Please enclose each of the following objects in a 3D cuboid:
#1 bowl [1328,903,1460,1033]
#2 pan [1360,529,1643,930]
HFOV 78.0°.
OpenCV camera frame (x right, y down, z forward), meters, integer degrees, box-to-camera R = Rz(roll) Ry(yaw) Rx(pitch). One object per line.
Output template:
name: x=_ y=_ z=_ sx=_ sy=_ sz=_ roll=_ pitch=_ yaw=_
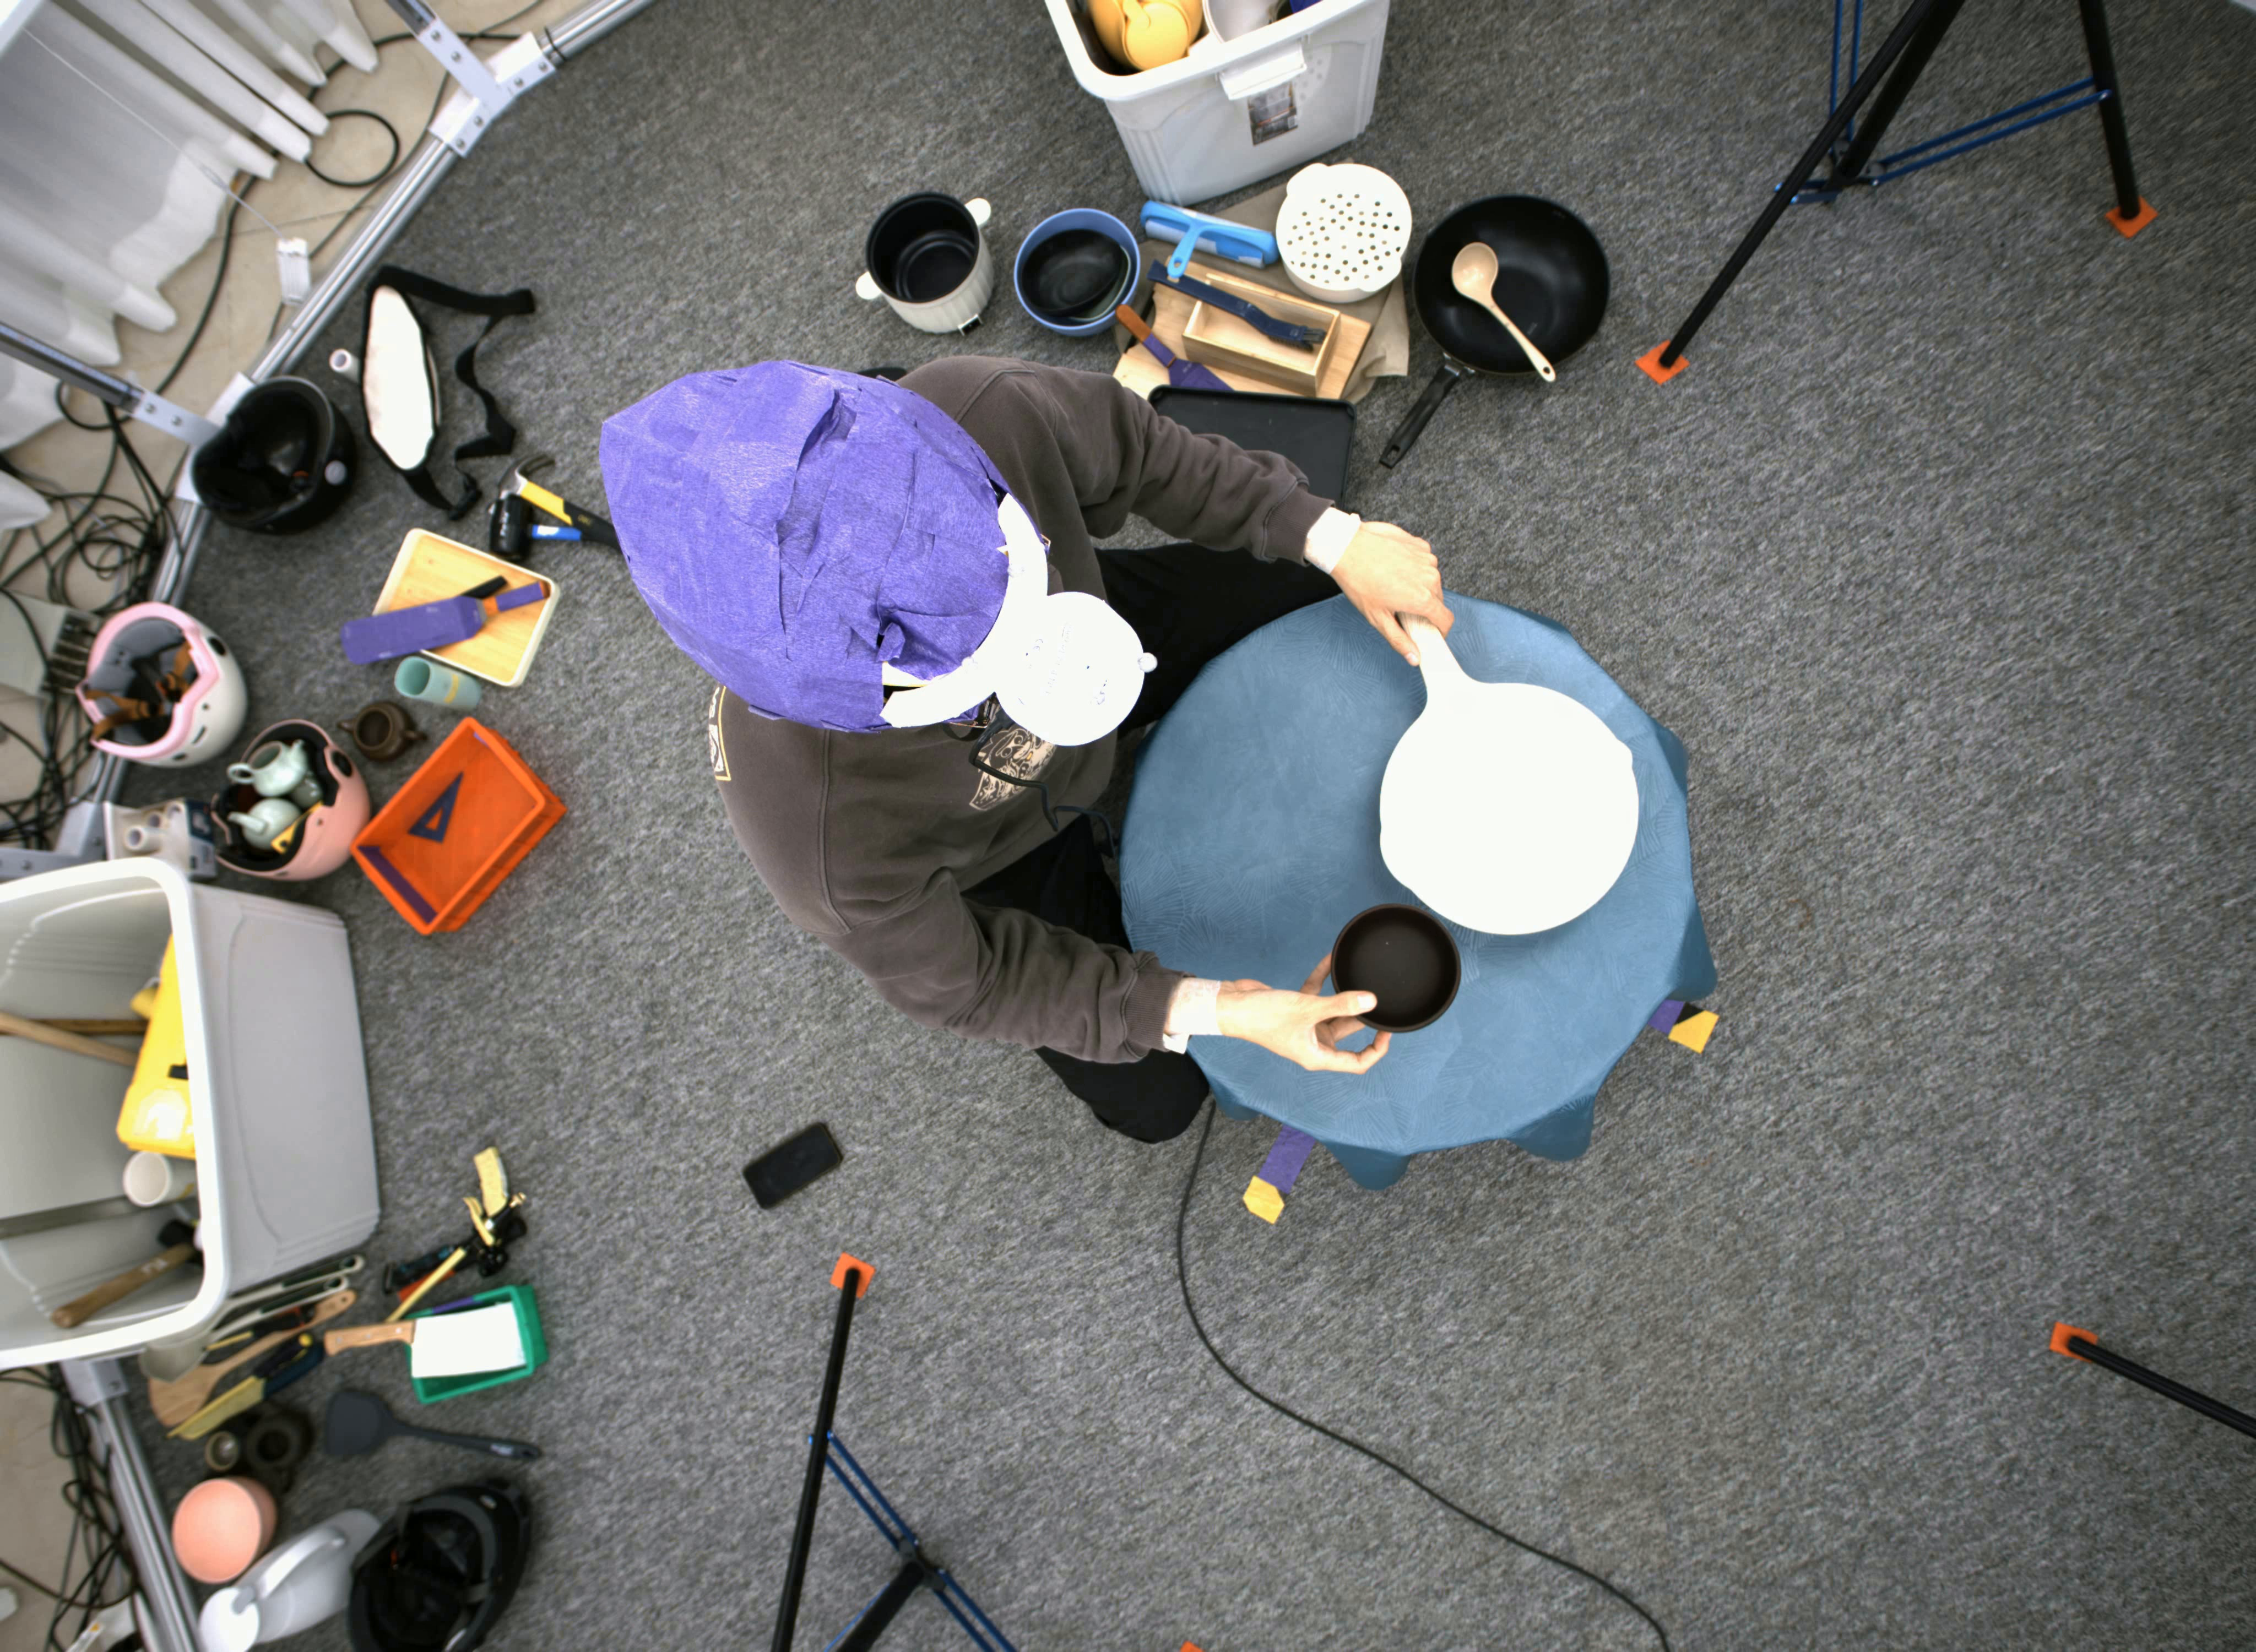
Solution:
bowl: x=0.244 y=0.130 z=1.266 sx=0.118 sy=0.070 sz=0.117 roll=-2 pitch=83 yaw=13
pan: x=0.348 y=-0.104 z=1.402 sx=0.265 sy=0.102 sz=0.432 roll=-26 pitch=82 yaw=10
